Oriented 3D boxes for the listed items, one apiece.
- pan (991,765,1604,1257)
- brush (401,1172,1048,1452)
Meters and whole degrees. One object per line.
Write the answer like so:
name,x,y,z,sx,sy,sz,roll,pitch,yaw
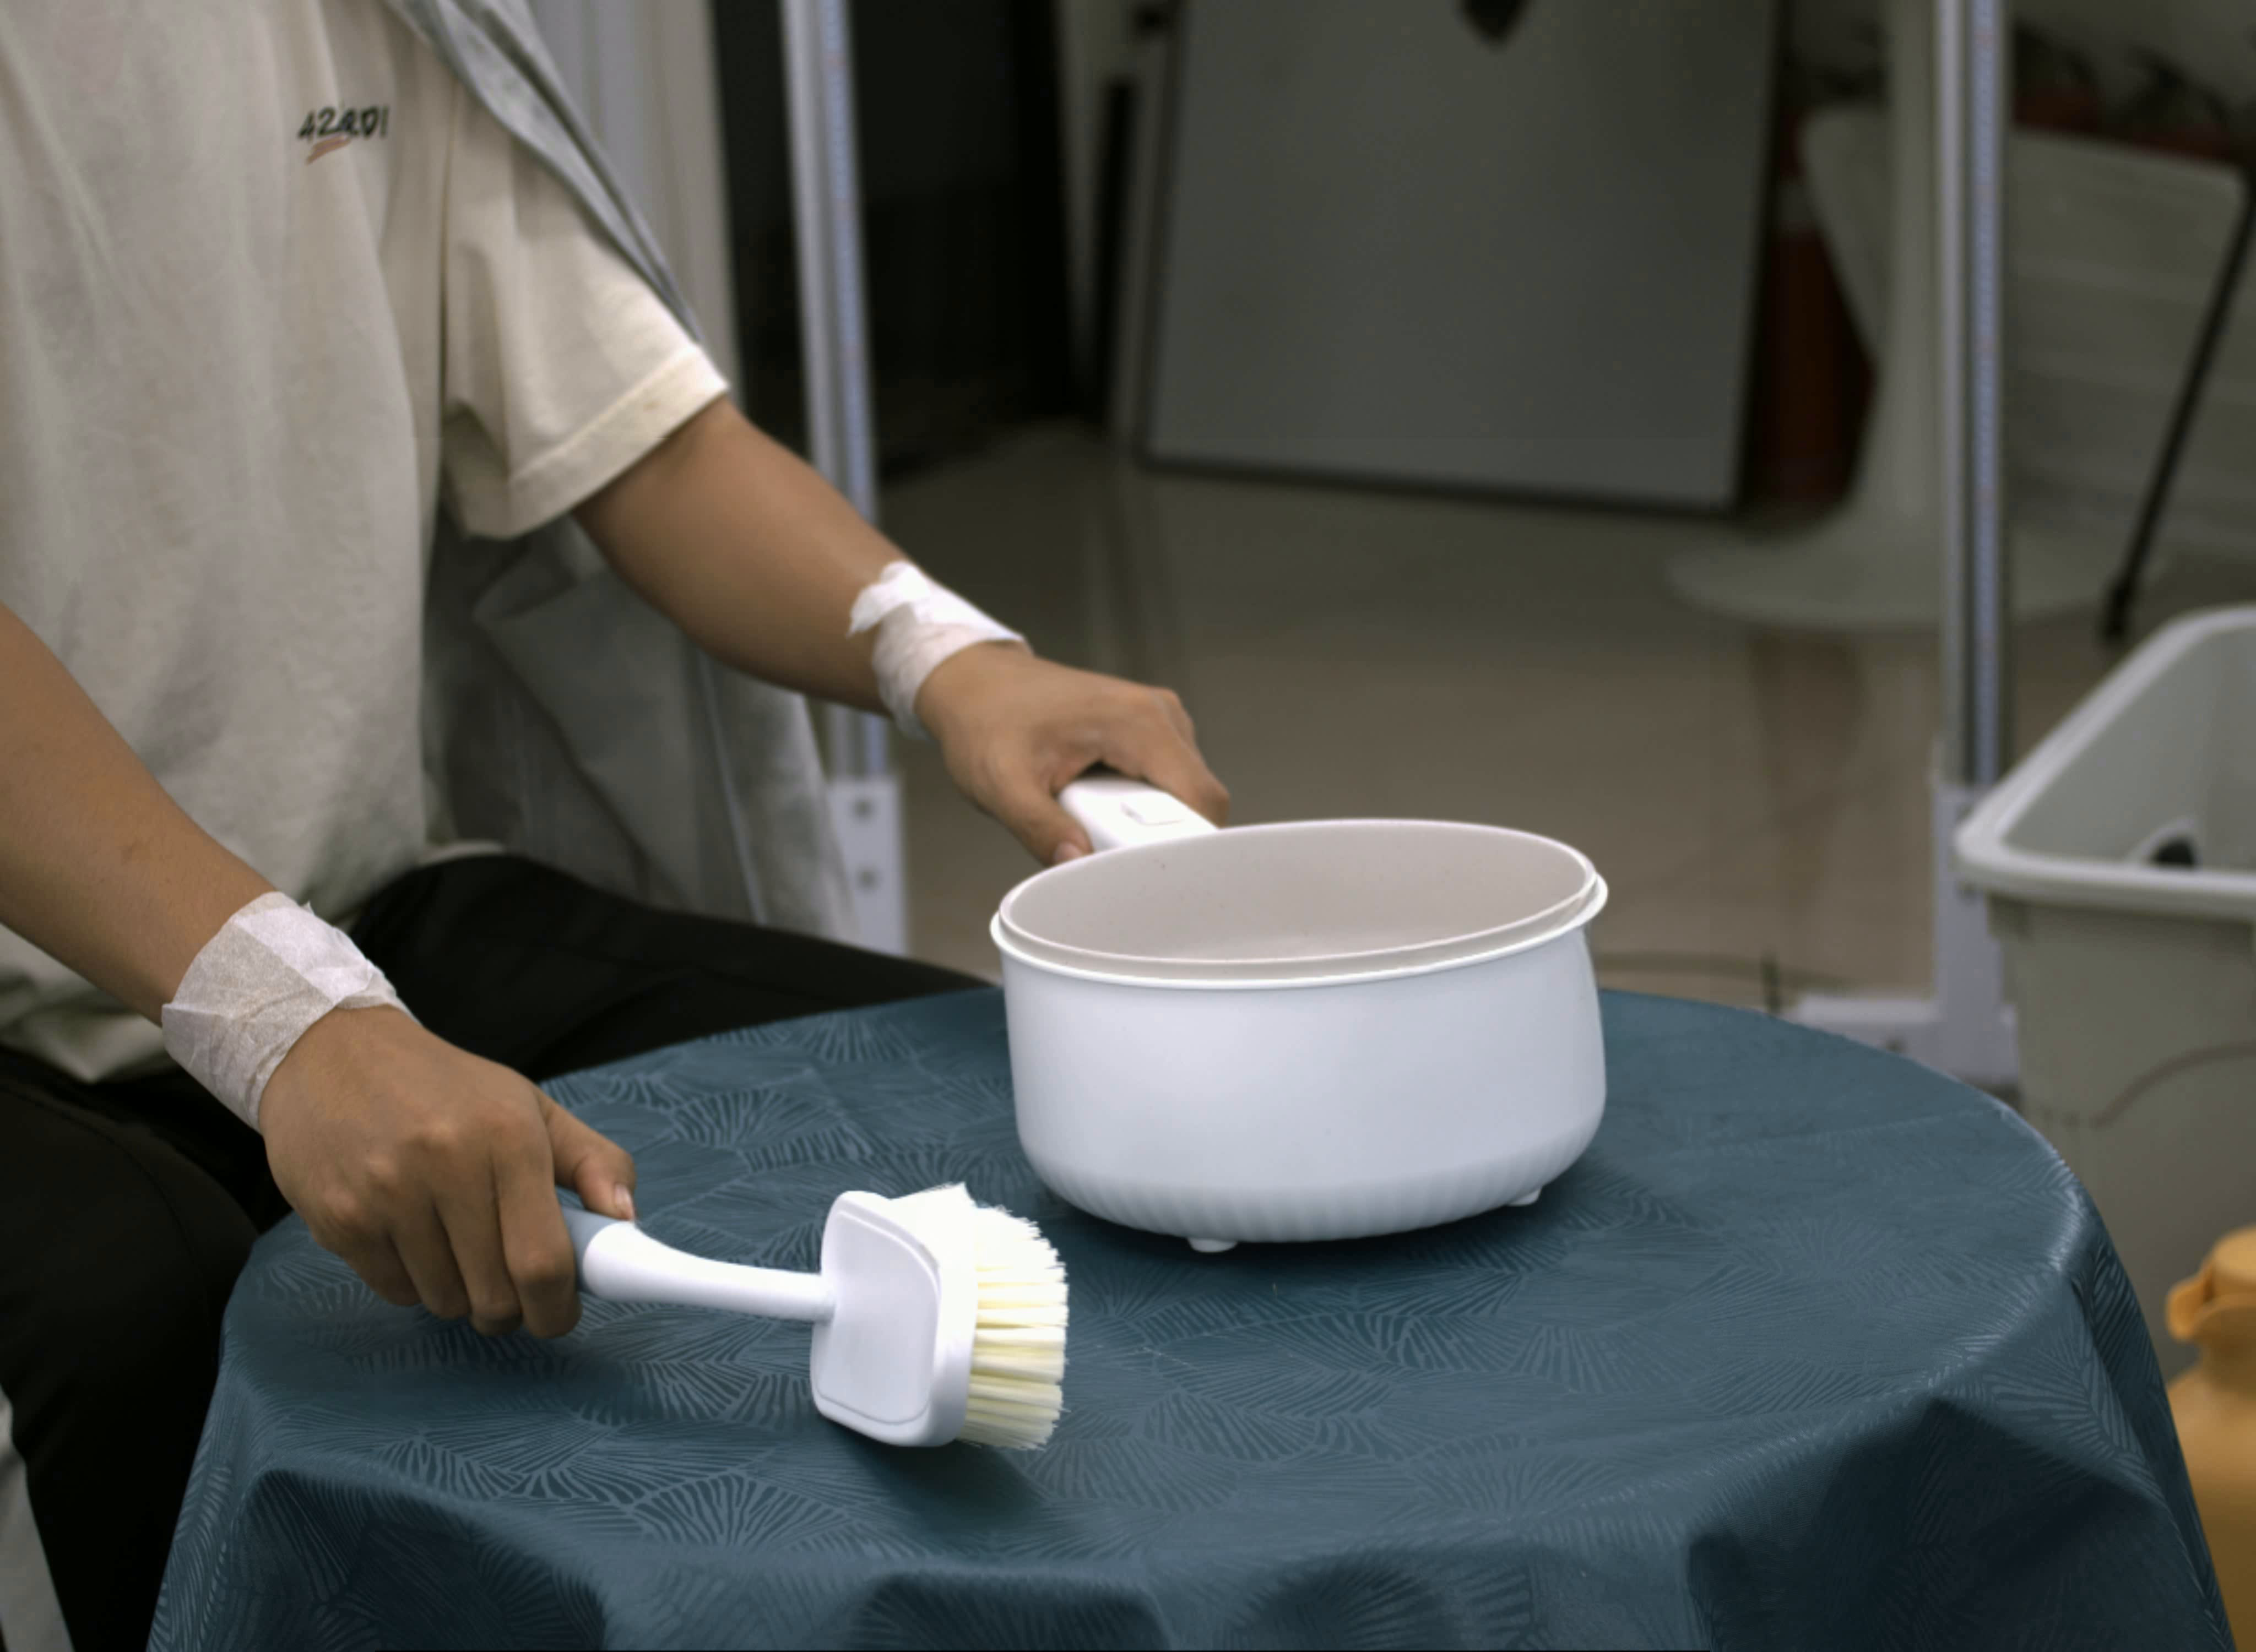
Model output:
pan,0.036,0.056,1.825,0.197,0.103,0.357,-8,12,-15
brush,-0.109,0.132,1.625,0.083,0.084,0.329,-51,28,-19
